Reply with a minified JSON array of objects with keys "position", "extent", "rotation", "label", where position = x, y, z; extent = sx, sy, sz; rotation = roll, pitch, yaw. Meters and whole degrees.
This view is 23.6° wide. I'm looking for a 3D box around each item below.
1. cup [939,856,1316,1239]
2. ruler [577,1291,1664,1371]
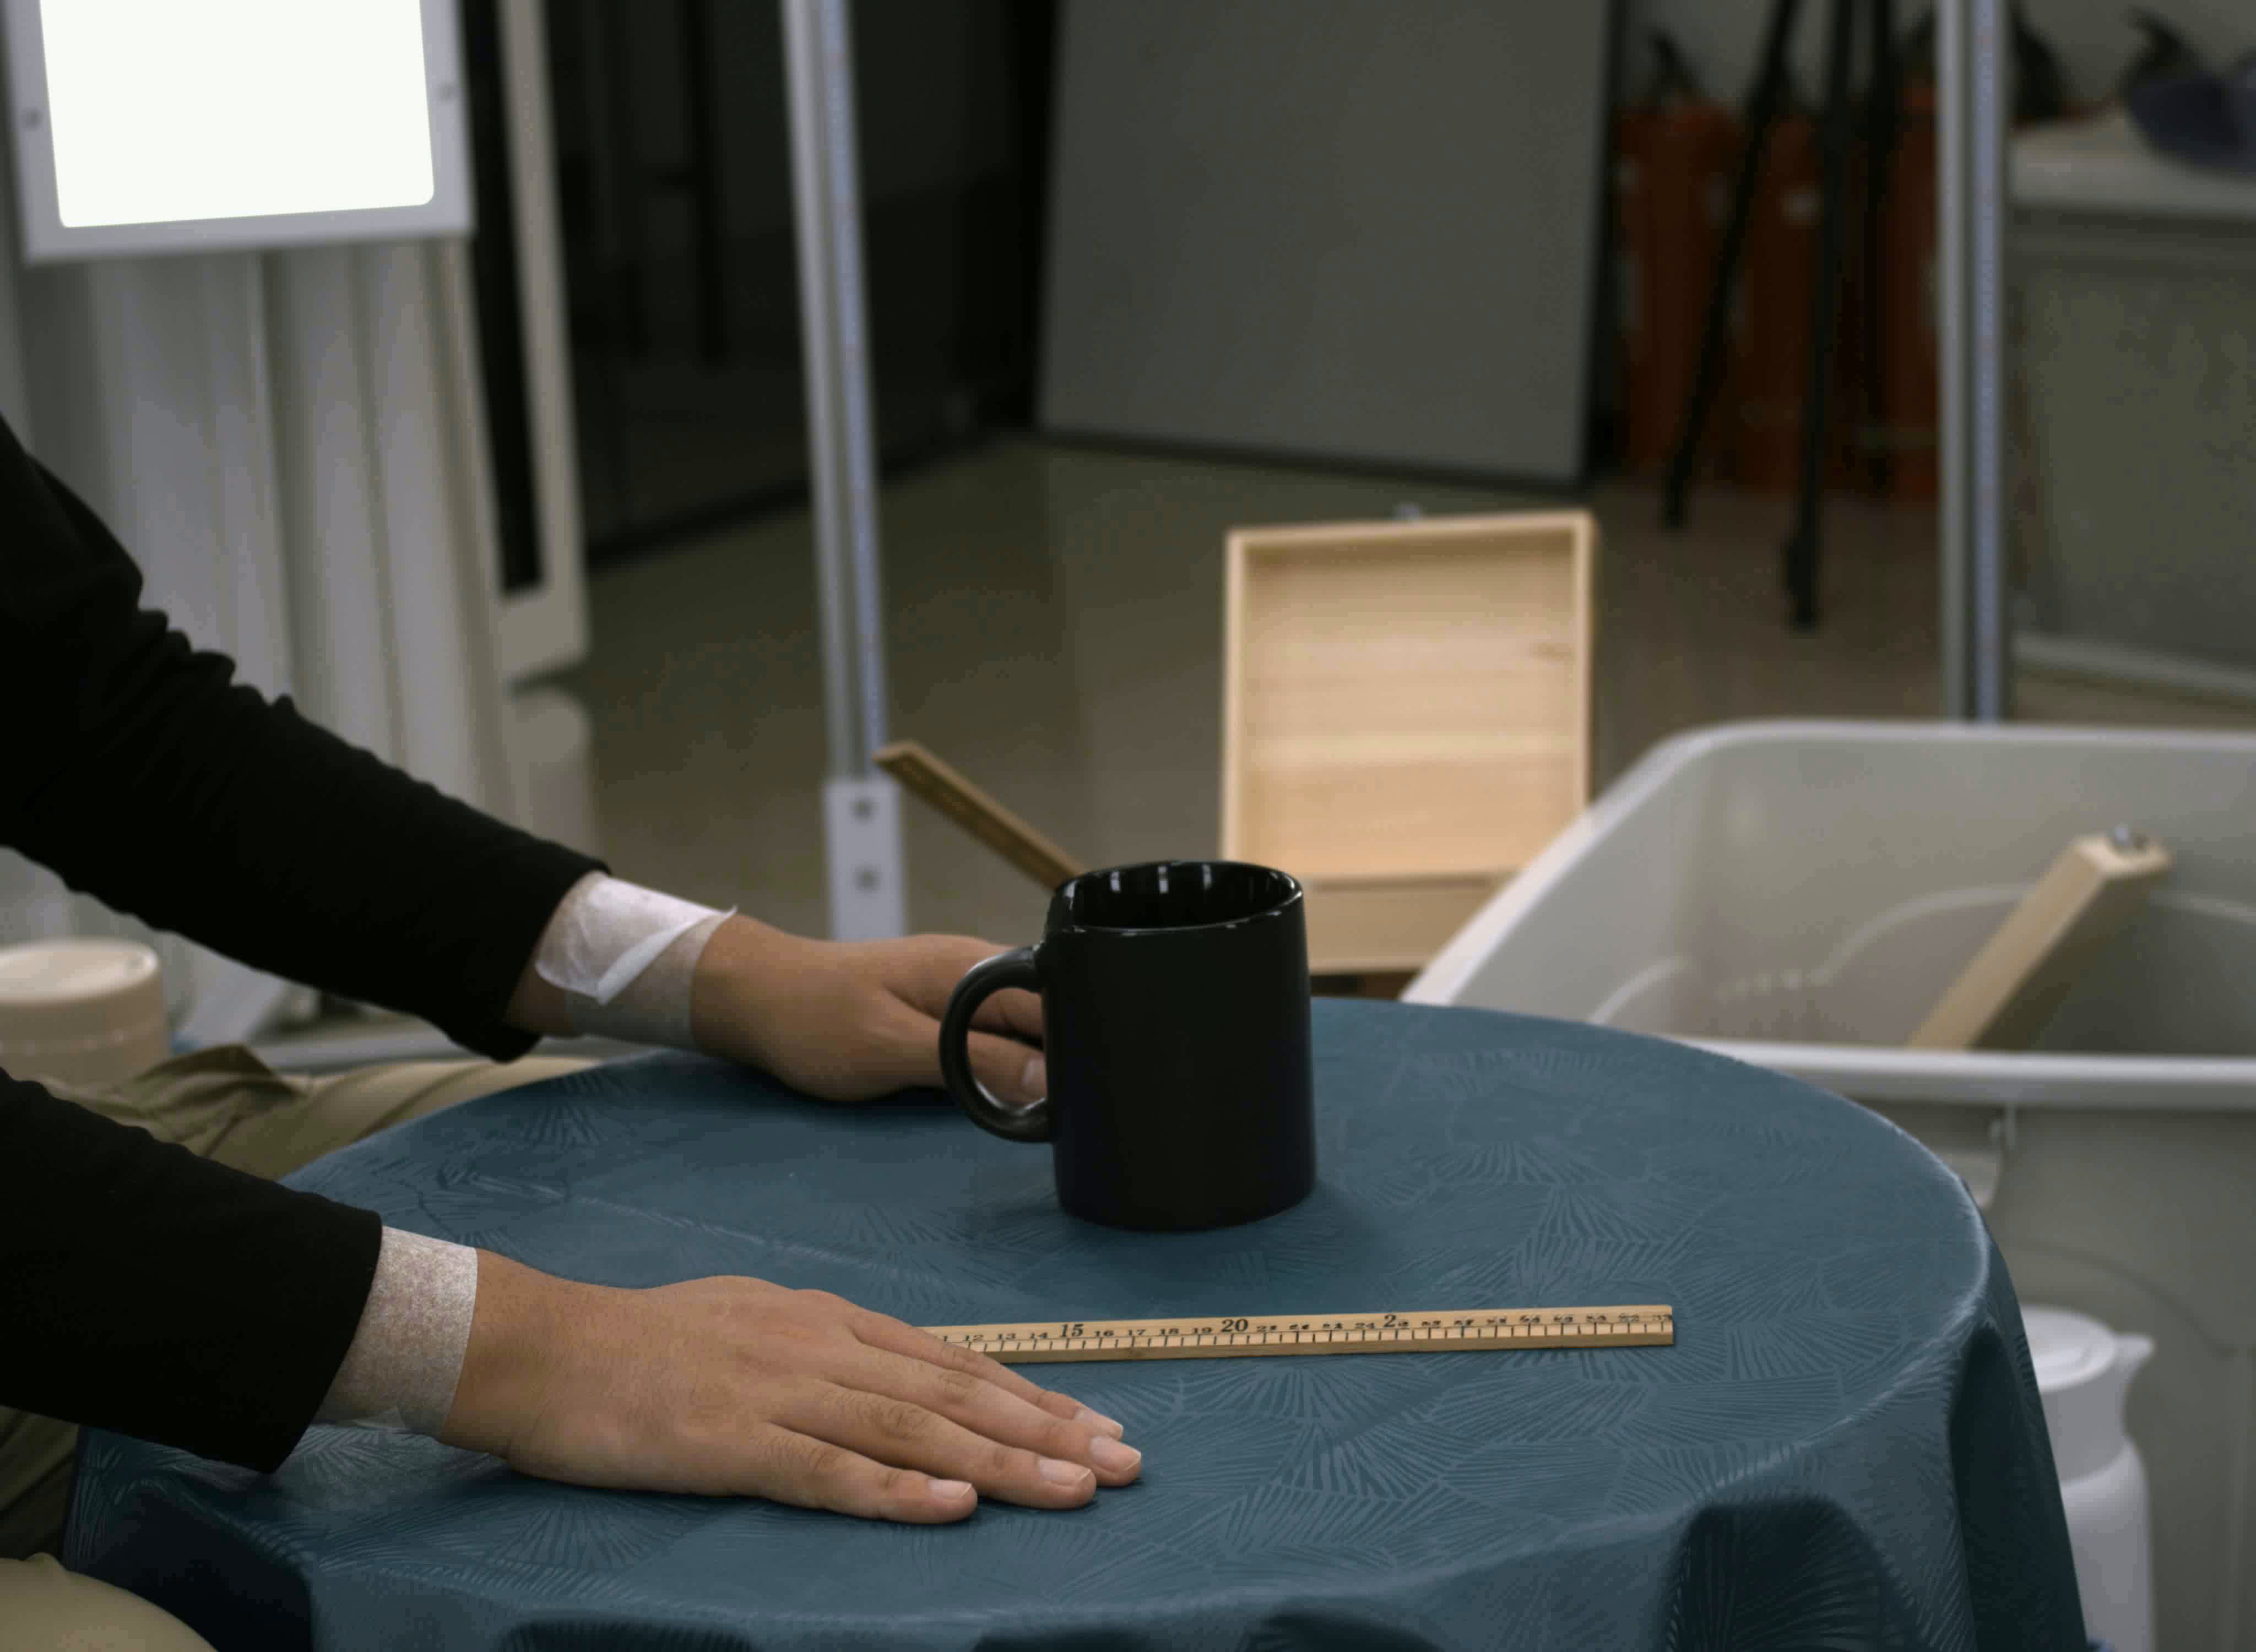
[{"position":[-0.001,0.072,1.755],"extent":[0.122,0.106,0.088],"rotation":[-3,15,9],"label":"cup"},{"position":[-0.003,0.152,1.622],"extent":[0.329,0.022,0.027],"rotation":[-2,9,8],"label":"ruler"}]
